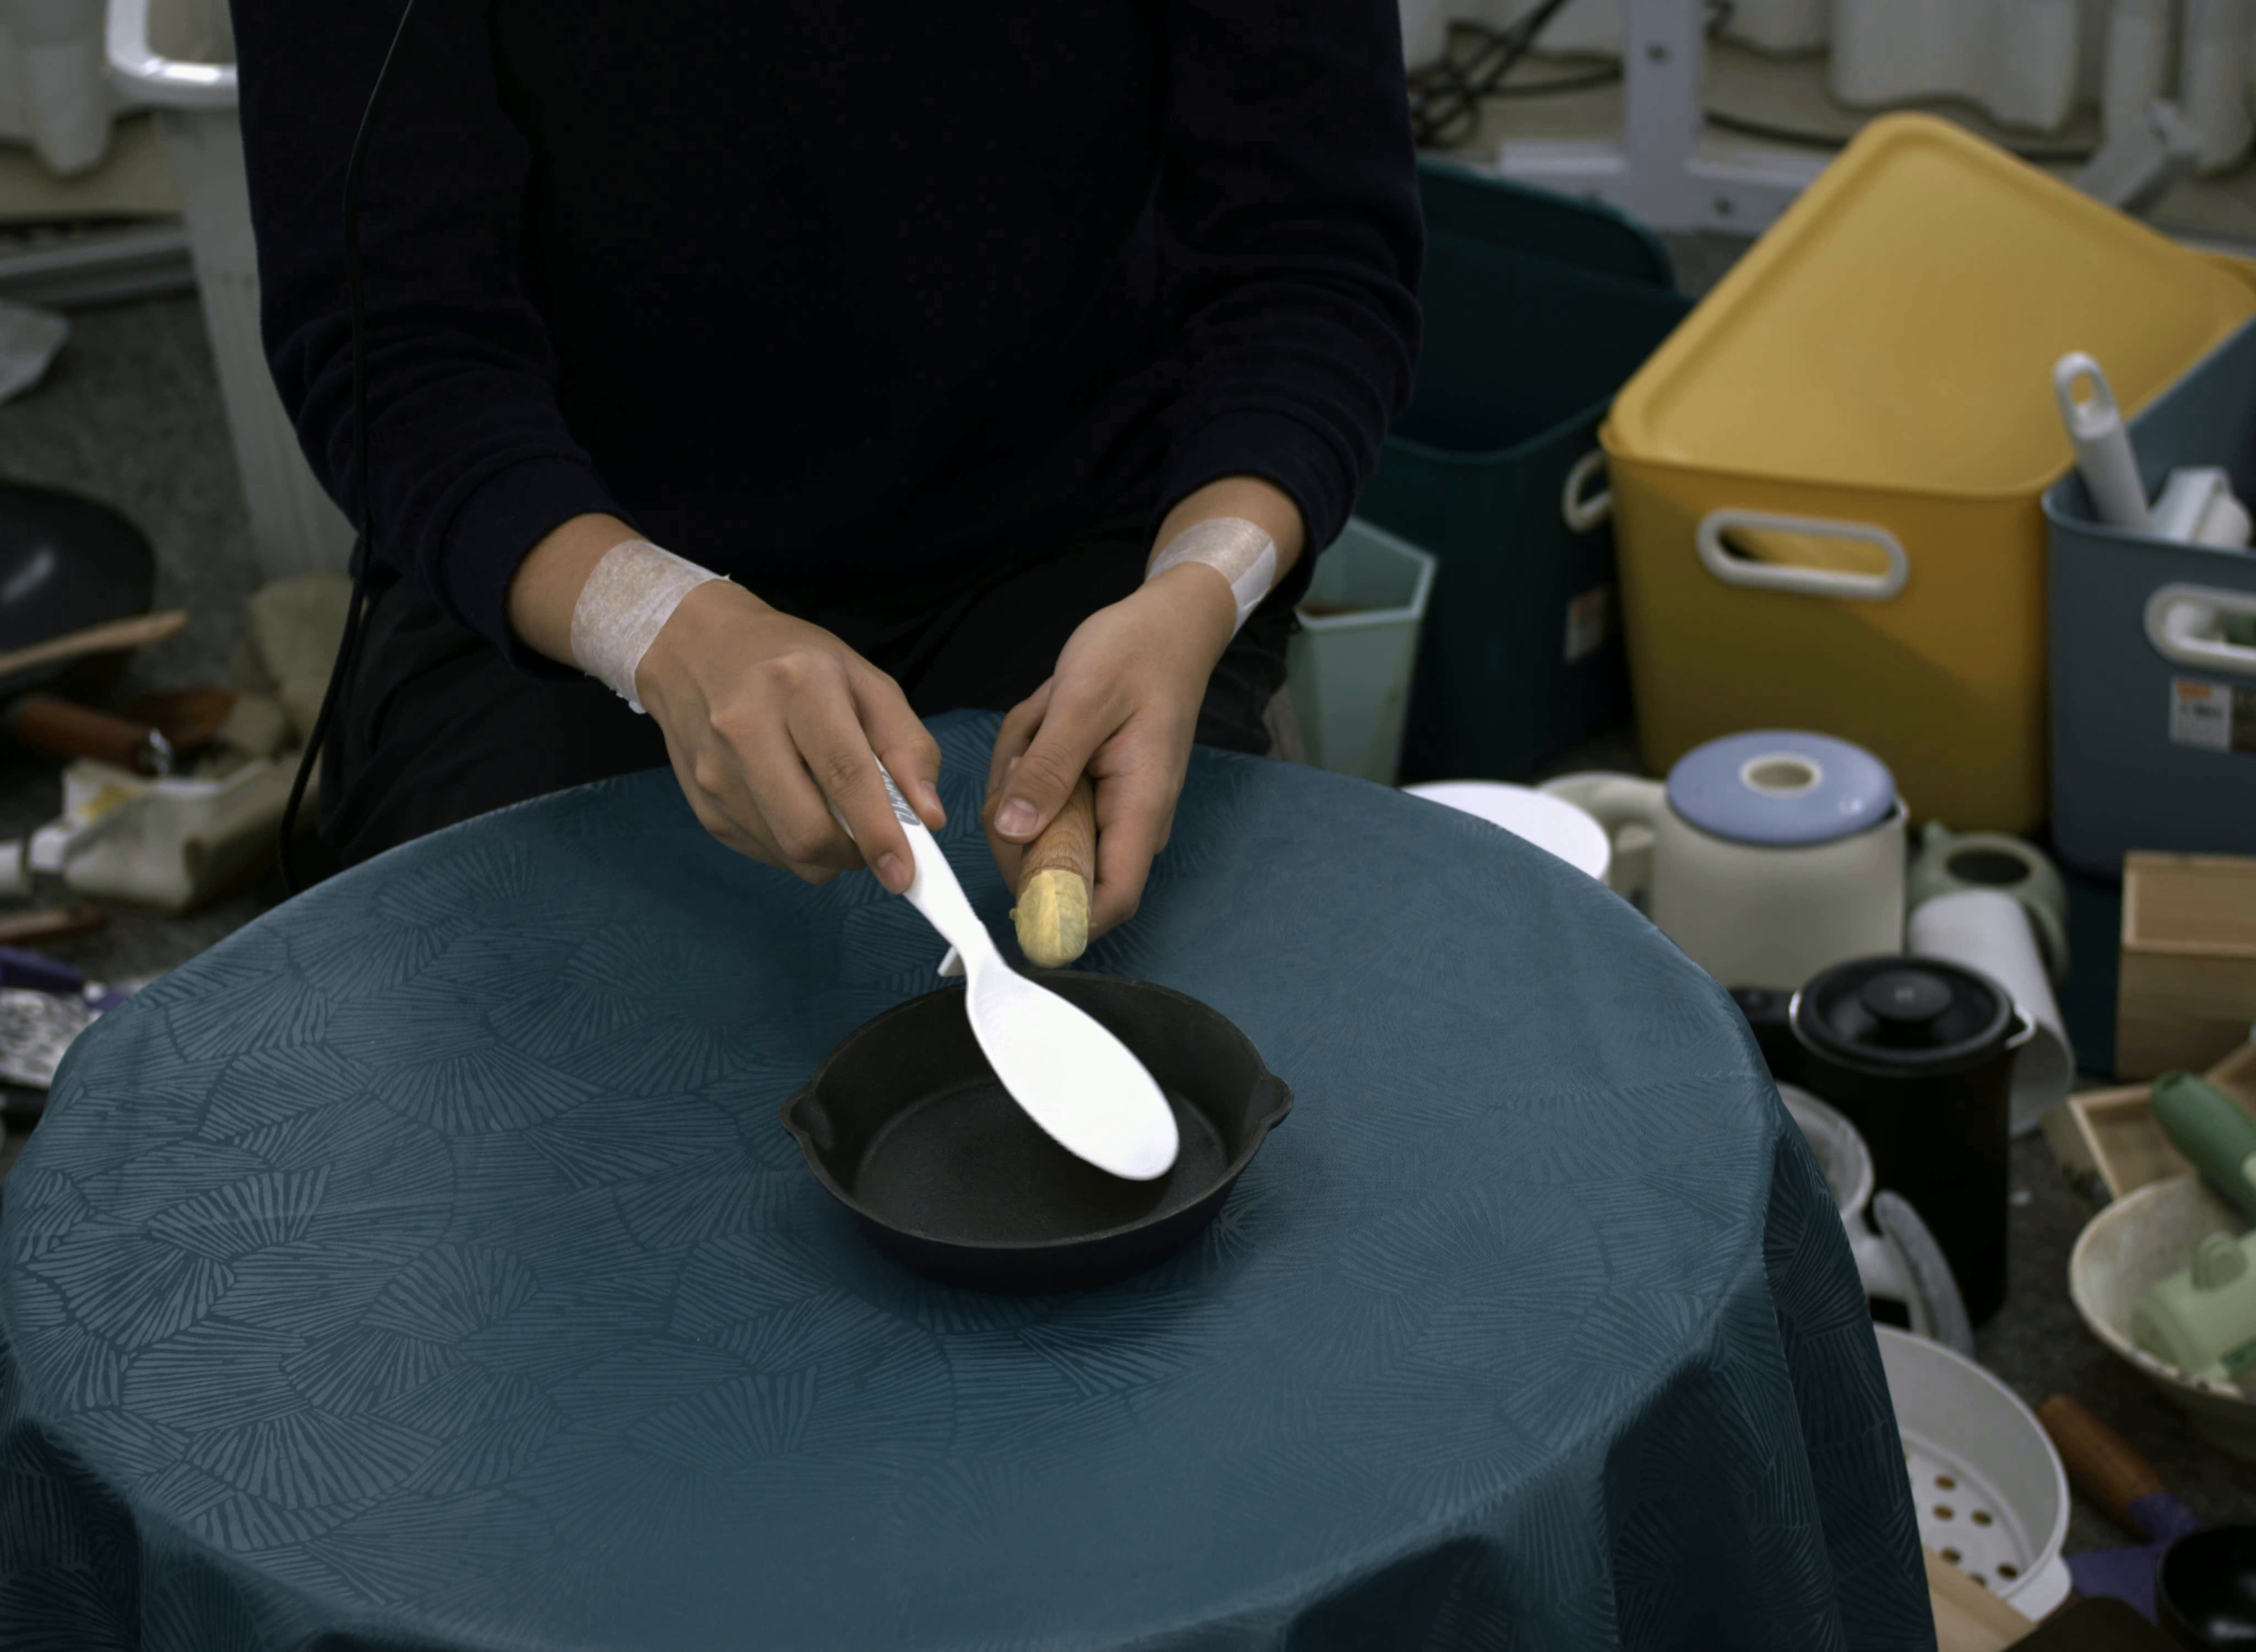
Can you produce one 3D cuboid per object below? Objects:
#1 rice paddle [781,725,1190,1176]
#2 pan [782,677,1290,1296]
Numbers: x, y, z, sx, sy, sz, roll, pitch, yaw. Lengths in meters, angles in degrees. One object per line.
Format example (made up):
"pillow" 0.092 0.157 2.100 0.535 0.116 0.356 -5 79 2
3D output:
"rice paddle" -0.047 0.044 1.891 0.069 0.029 0.207 -5 45 -48
"pan" -0.024 0.052 1.922 0.168 0.049 0.330 -1 33 5
